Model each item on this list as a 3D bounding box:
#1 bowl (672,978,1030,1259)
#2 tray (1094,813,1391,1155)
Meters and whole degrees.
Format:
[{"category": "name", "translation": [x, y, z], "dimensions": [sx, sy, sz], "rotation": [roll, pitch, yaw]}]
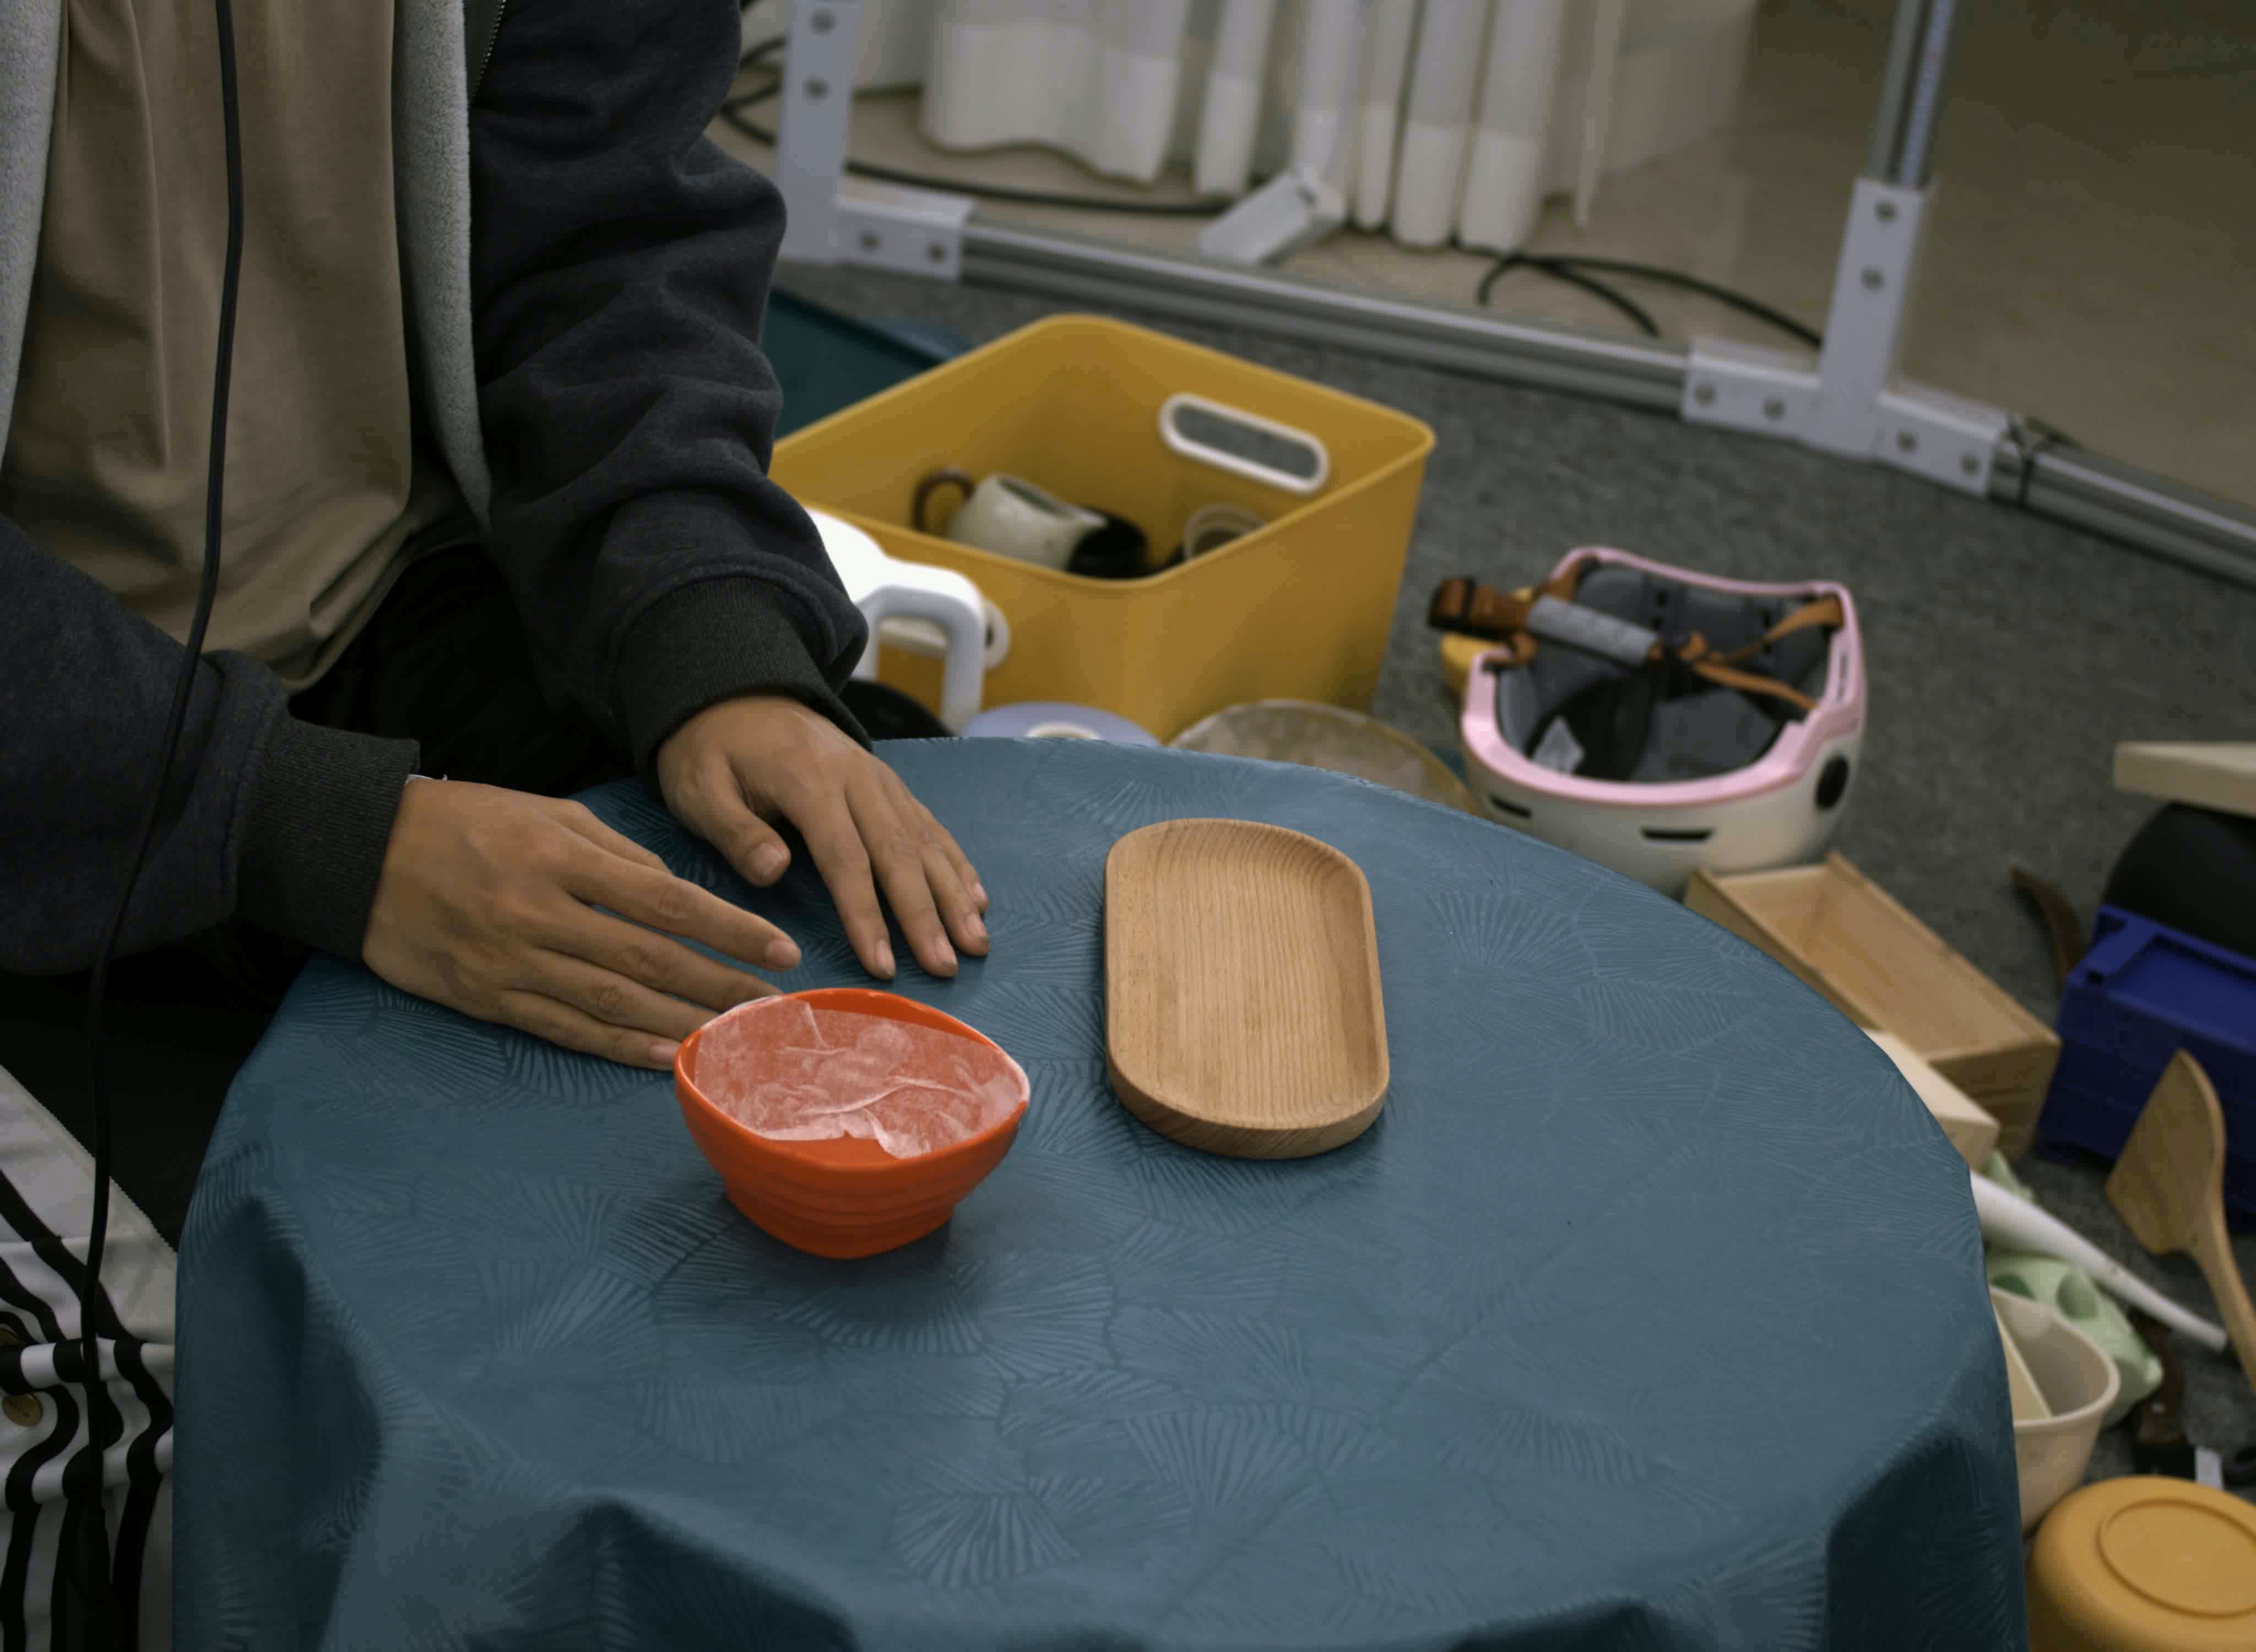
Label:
[{"category": "bowl", "translation": [-0.094, 0.101, 1.764], "dimensions": [0.118, 0.051, 0.119], "rotation": [5, 28, -3]}, {"category": "tray", "translation": [0.040, 0.055, 1.927], "dimensions": [0.101, 0.020, 0.232], "rotation": [5, 26, -5]}]
